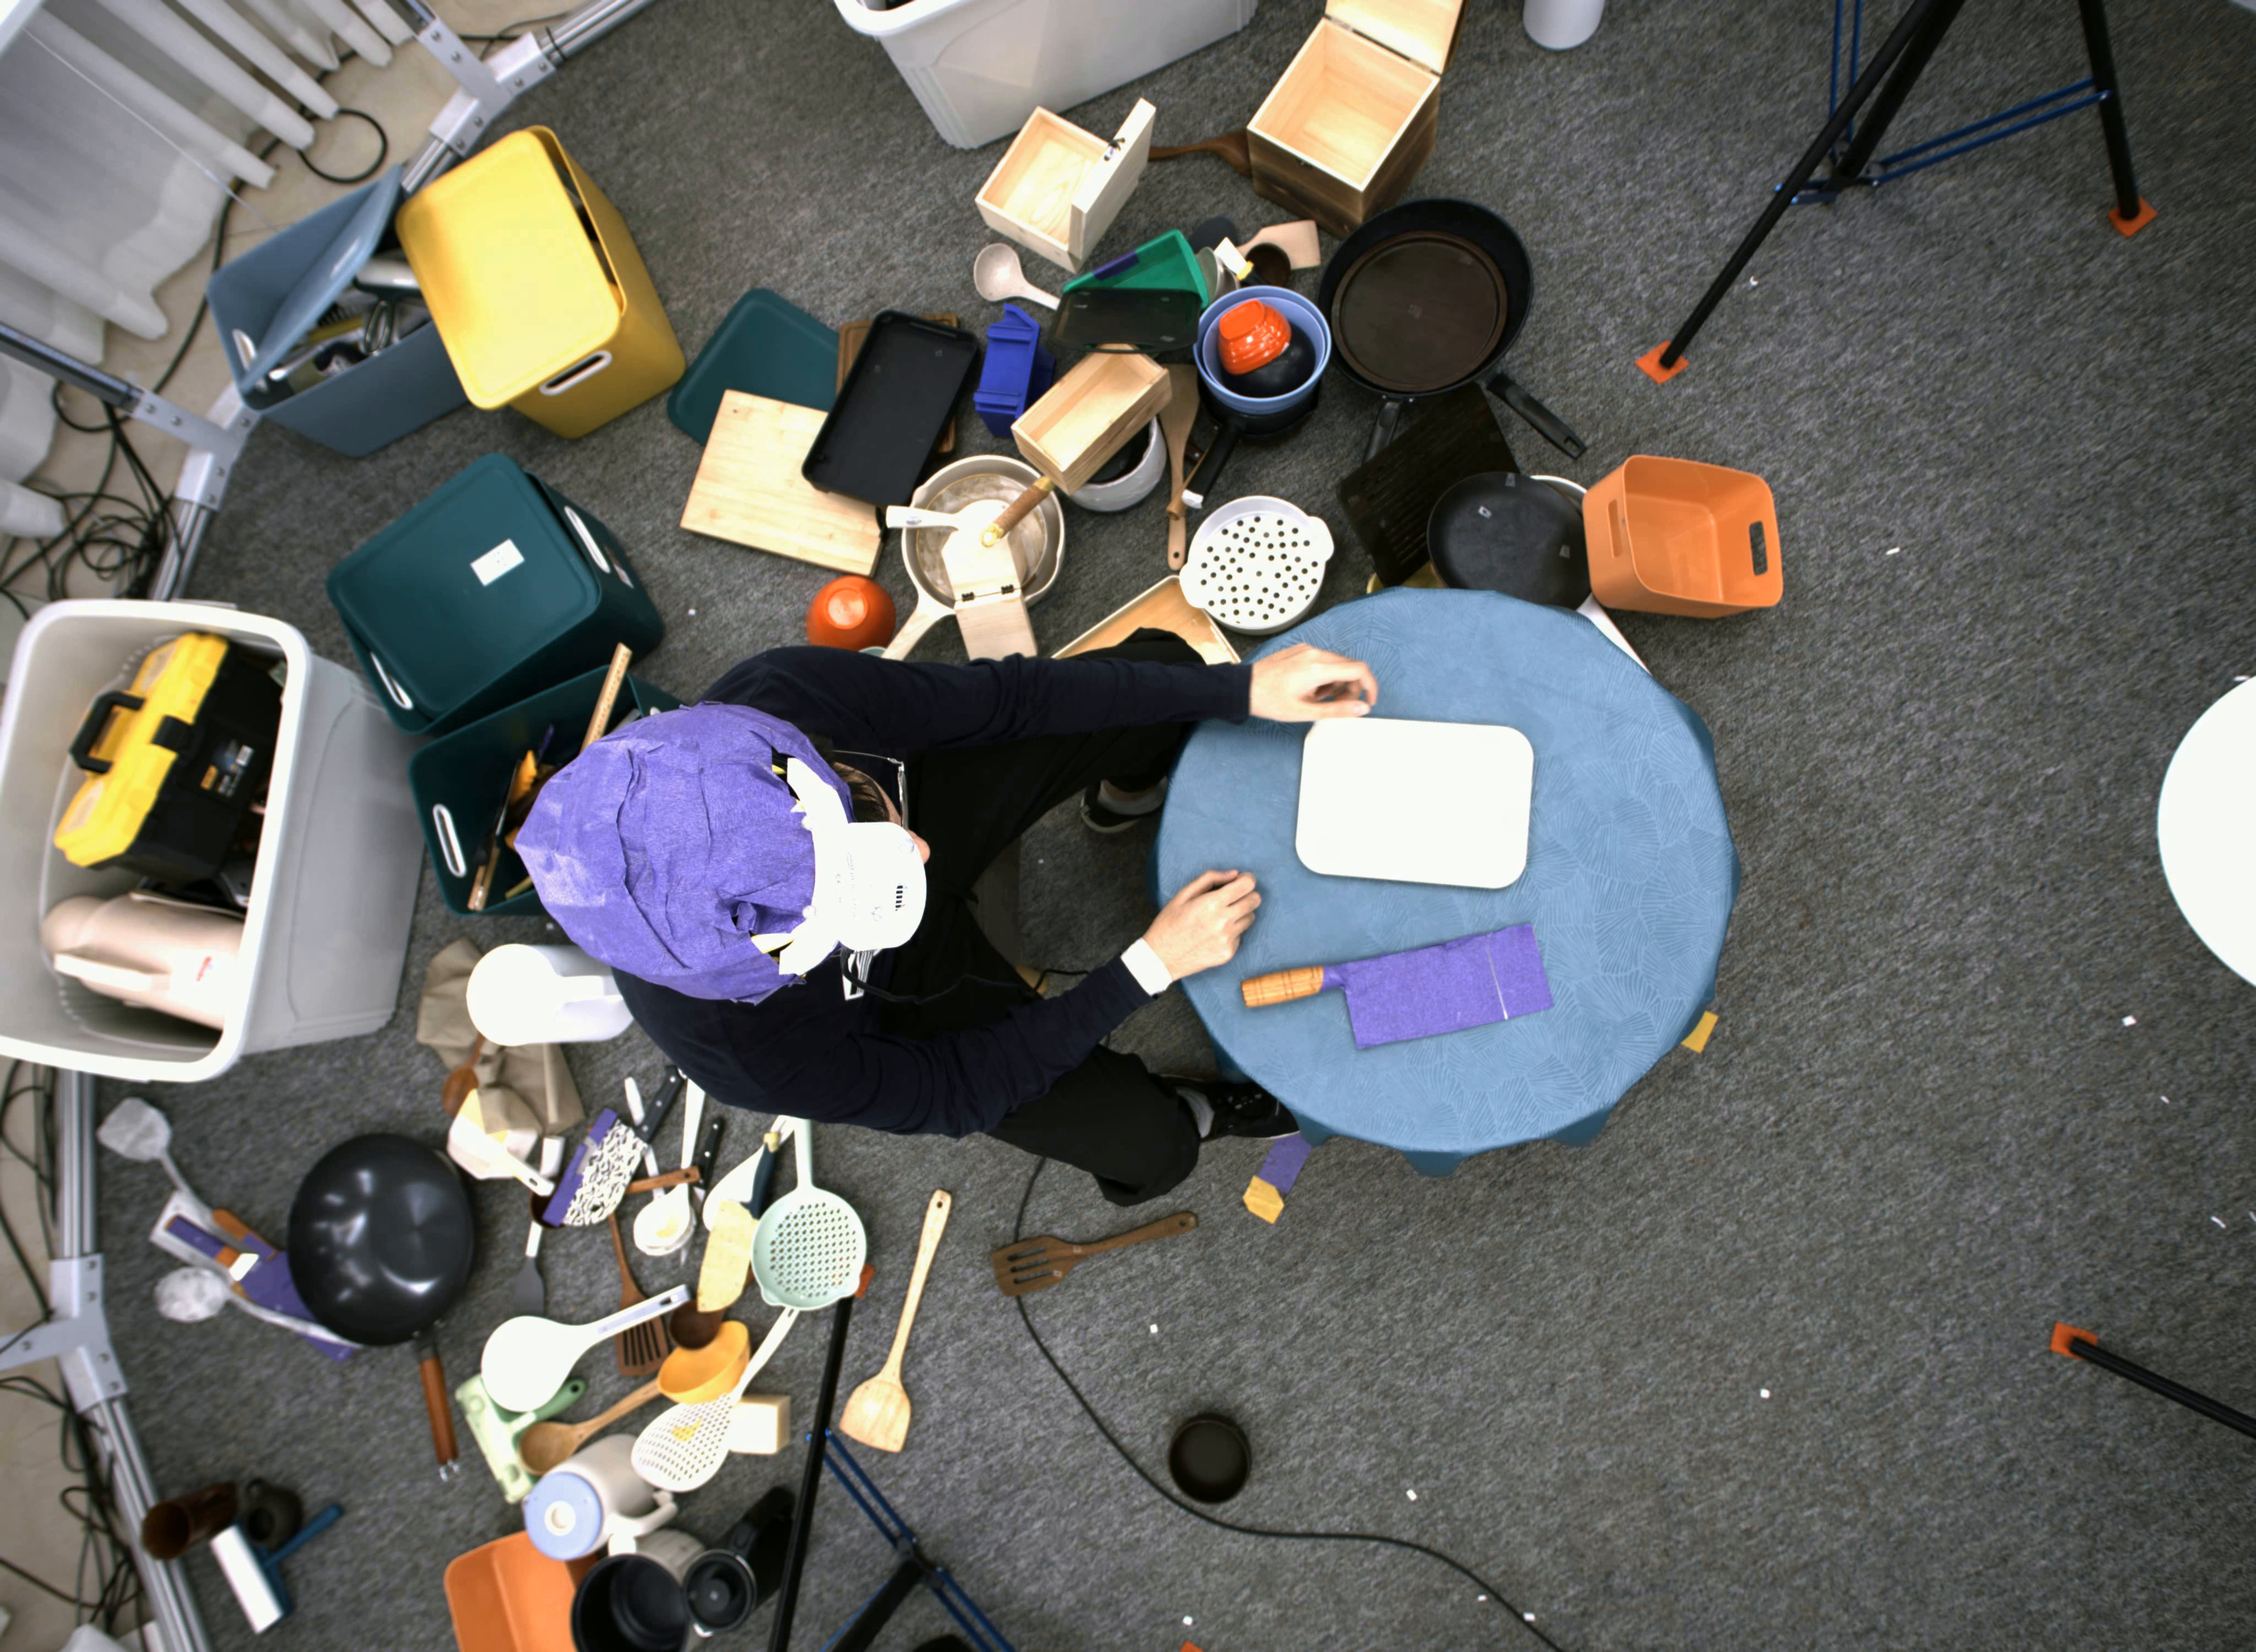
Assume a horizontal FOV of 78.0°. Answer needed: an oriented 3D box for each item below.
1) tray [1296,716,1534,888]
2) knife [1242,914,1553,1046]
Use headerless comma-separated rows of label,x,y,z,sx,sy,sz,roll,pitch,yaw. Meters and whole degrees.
tray,0.301,-0.027,1.451,0.240,0.017,0.171,5,88,11
knife,0.280,0.174,1.439,0.317,0.032,0.103,-14,84,9
